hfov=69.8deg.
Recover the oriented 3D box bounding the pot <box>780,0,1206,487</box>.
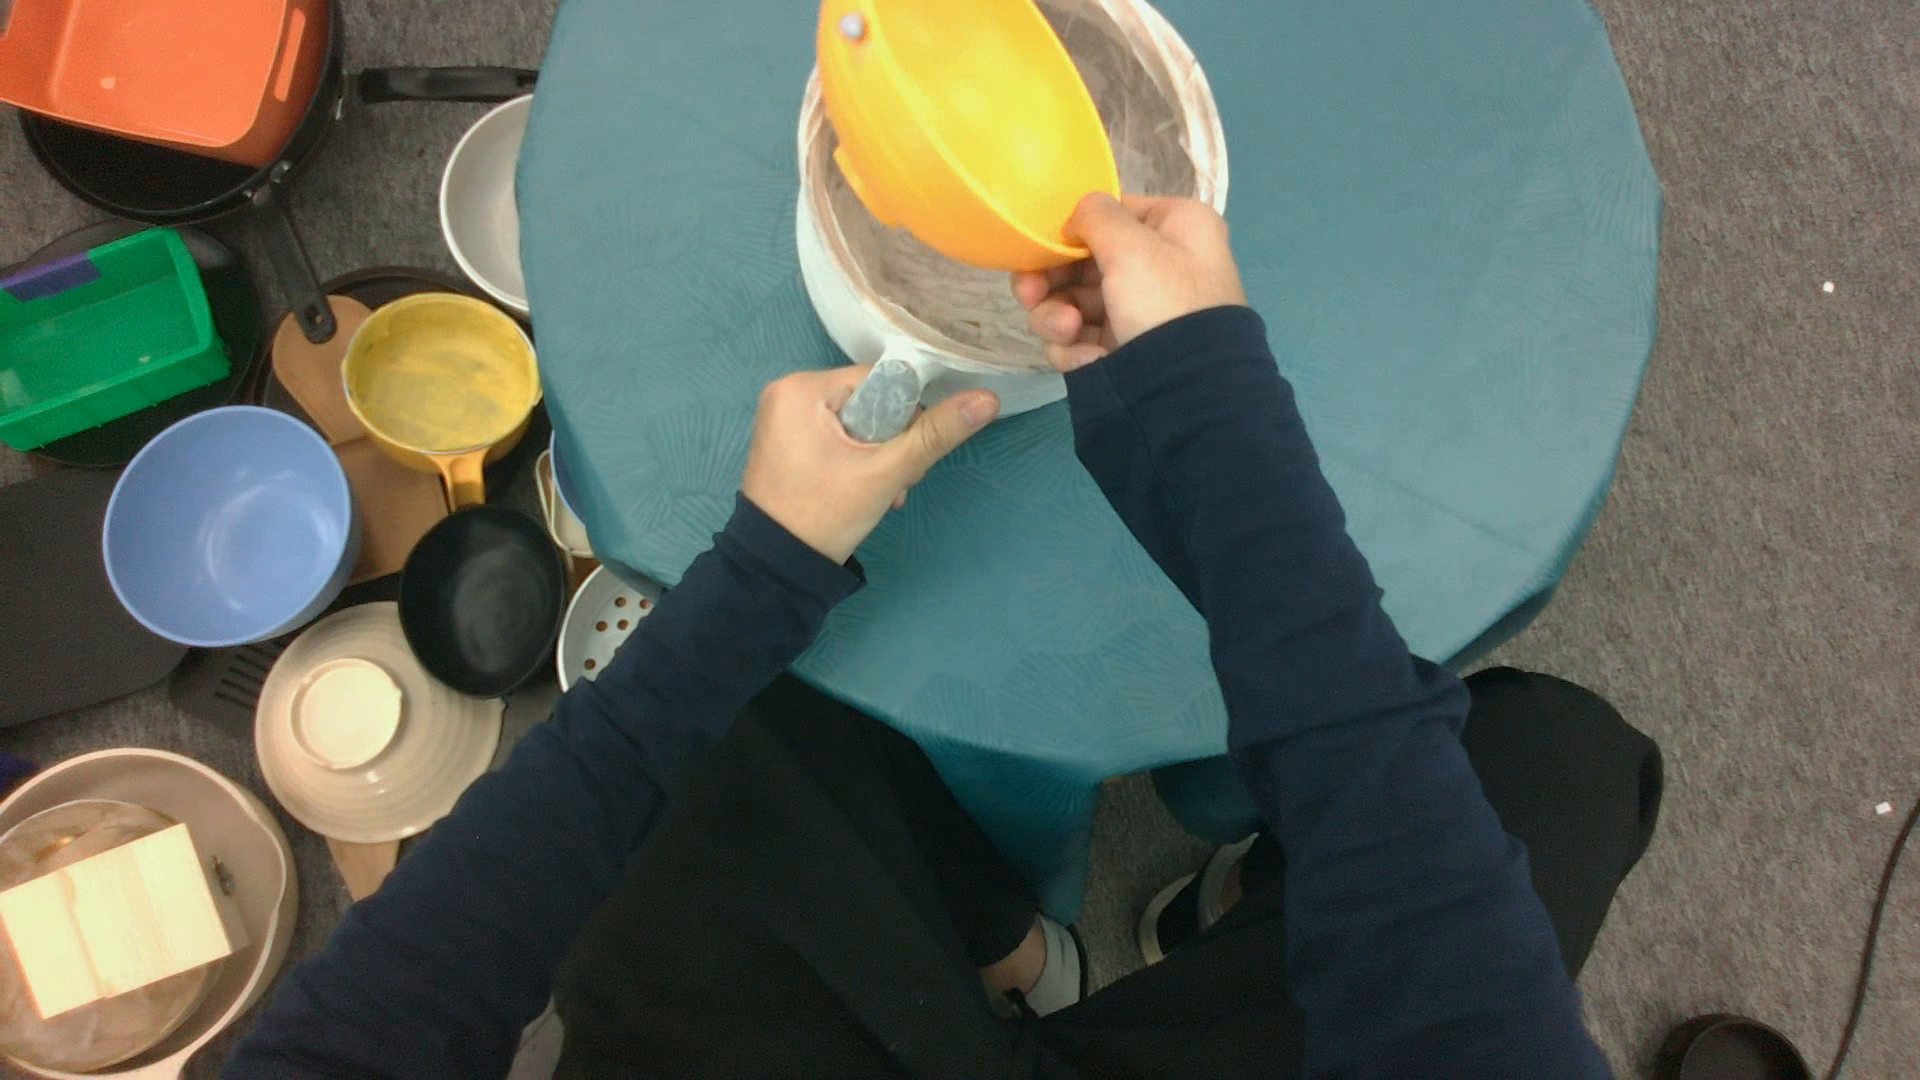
[{"bbox_3d":[-0.005,-0.132,0.624,0.179,0.136,0.234,28,84,-6],"label":"pot"}]

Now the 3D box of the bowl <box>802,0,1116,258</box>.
[{"bbox_3d":[-0.010,-0.160,0.519,0.060,0.146,0.145,-31,78,35],"label":"bowl"}]
